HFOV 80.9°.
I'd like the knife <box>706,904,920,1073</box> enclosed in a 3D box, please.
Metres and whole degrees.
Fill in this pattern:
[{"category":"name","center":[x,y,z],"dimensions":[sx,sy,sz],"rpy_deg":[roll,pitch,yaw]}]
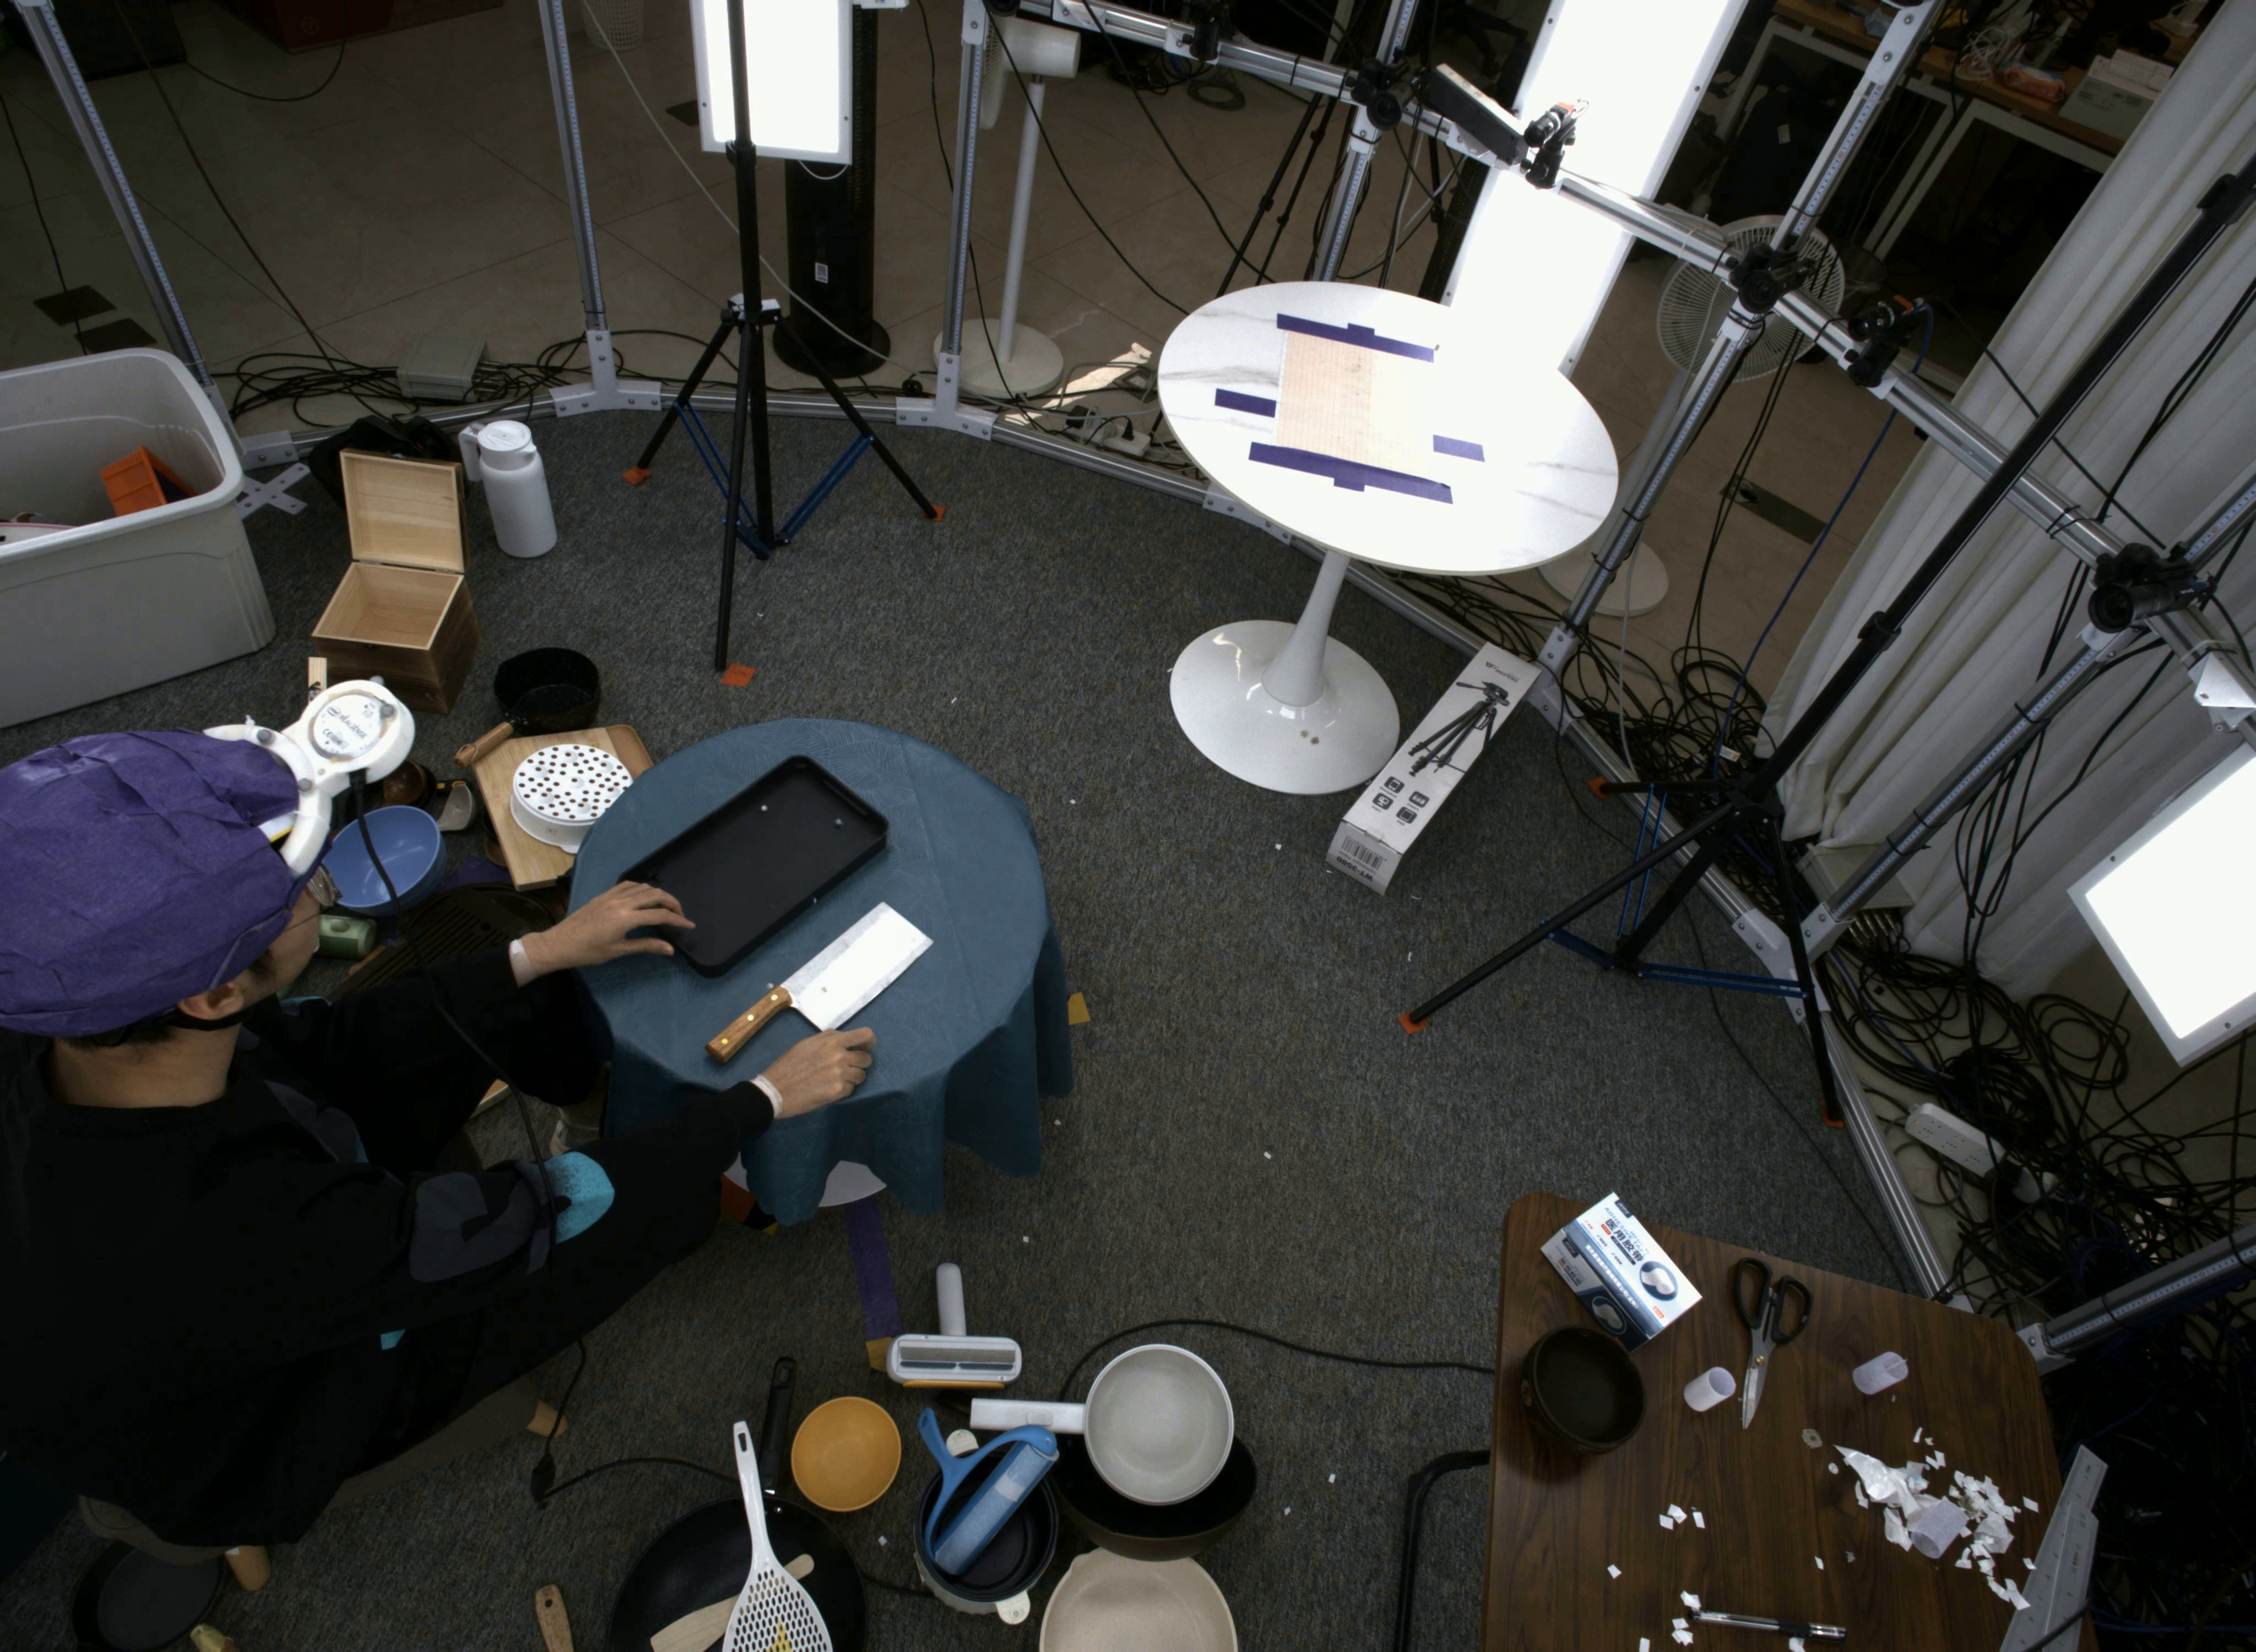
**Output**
[{"category":"knife","center":[-0.370,0.202,1.567],"dimensions":[0.091,0.021,0.306],"rpy_deg":[37,51,12]}]

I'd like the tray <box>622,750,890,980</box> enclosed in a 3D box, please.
[{"category":"tray","center":[-0.469,0.041,1.647],"dimensions":[0.181,0.038,0.318],"rpy_deg":[36,53,12]}]
